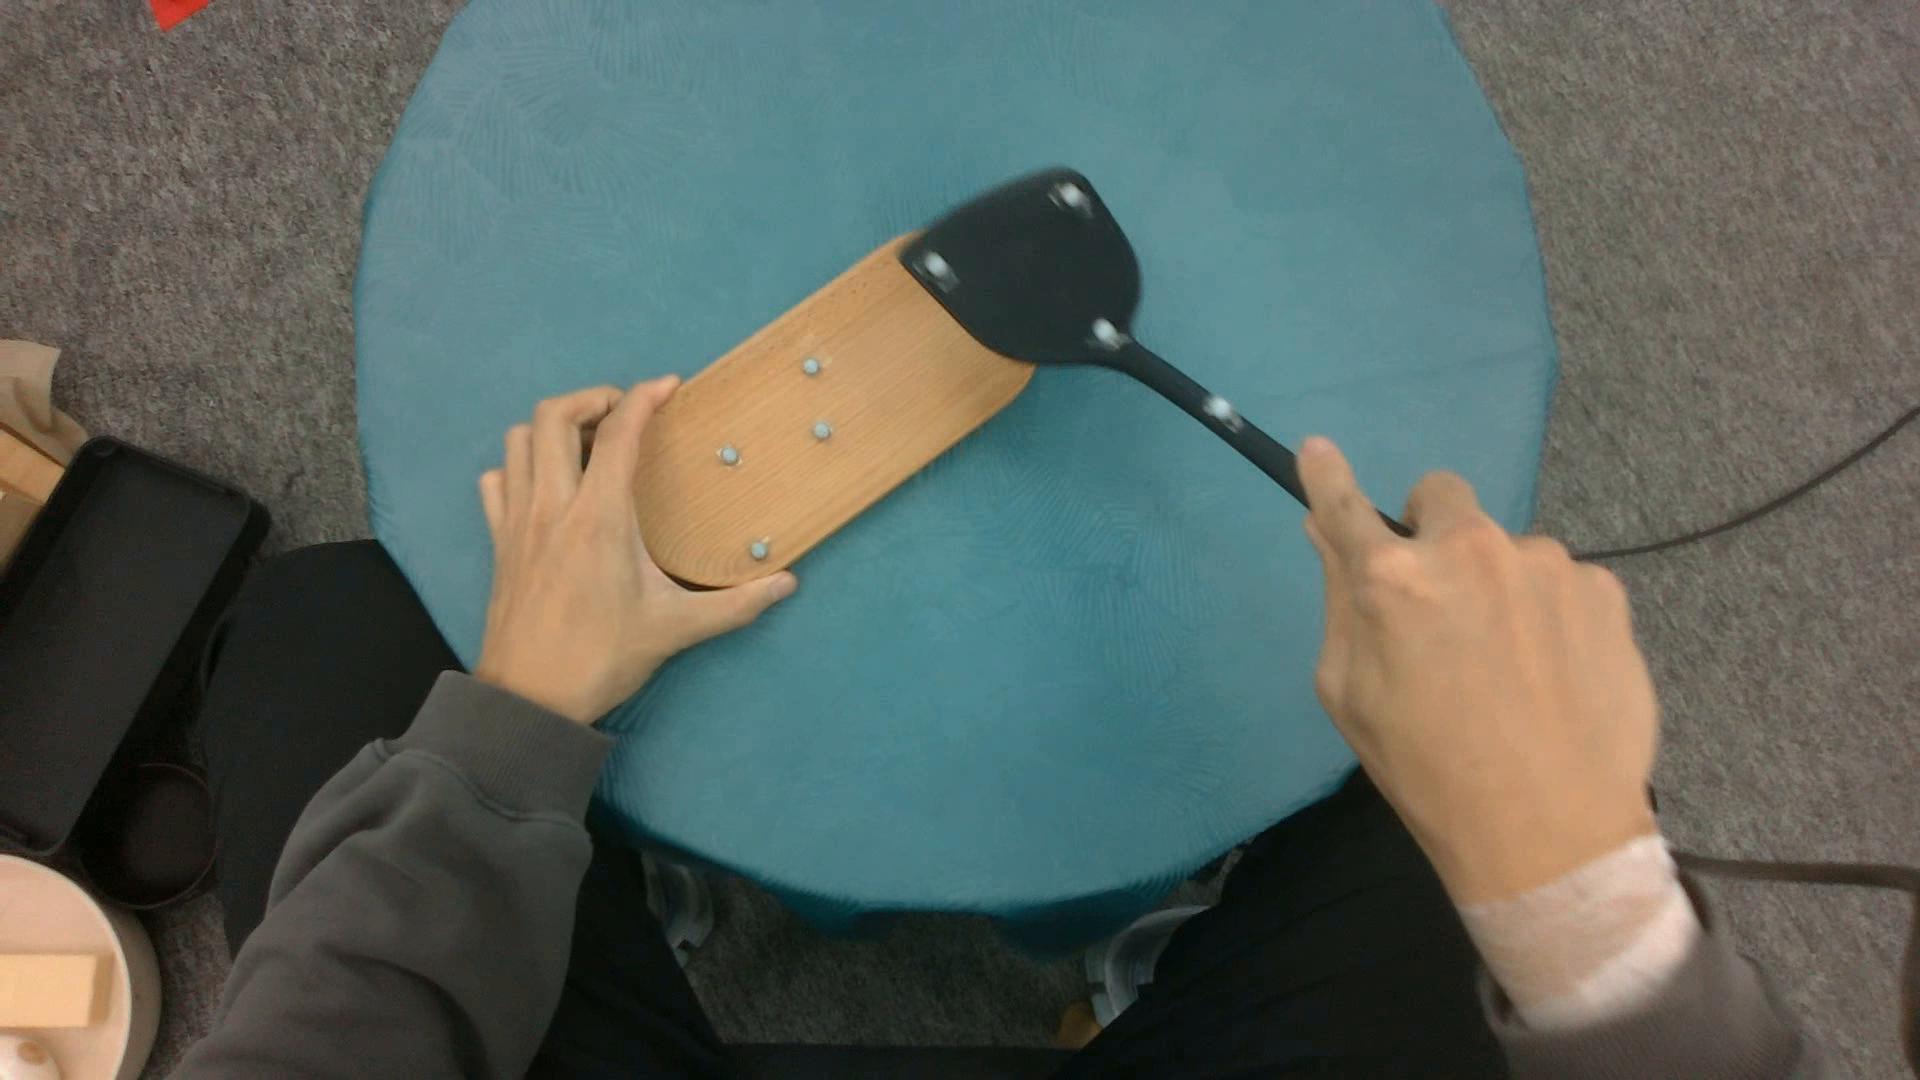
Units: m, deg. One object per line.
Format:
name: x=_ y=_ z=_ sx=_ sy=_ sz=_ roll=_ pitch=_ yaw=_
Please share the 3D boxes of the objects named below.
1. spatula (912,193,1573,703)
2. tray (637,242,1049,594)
spatula: x=0.103 y=-0.046 z=0.536 sx=0.100 sy=0.040 sz=0.326 roll=-31 pitch=47 yaw=-17
tray: x=-0.054 y=-0.062 z=0.685 sx=0.231 sy=0.020 sz=0.102 roll=-37 pitch=83 yaw=-10
